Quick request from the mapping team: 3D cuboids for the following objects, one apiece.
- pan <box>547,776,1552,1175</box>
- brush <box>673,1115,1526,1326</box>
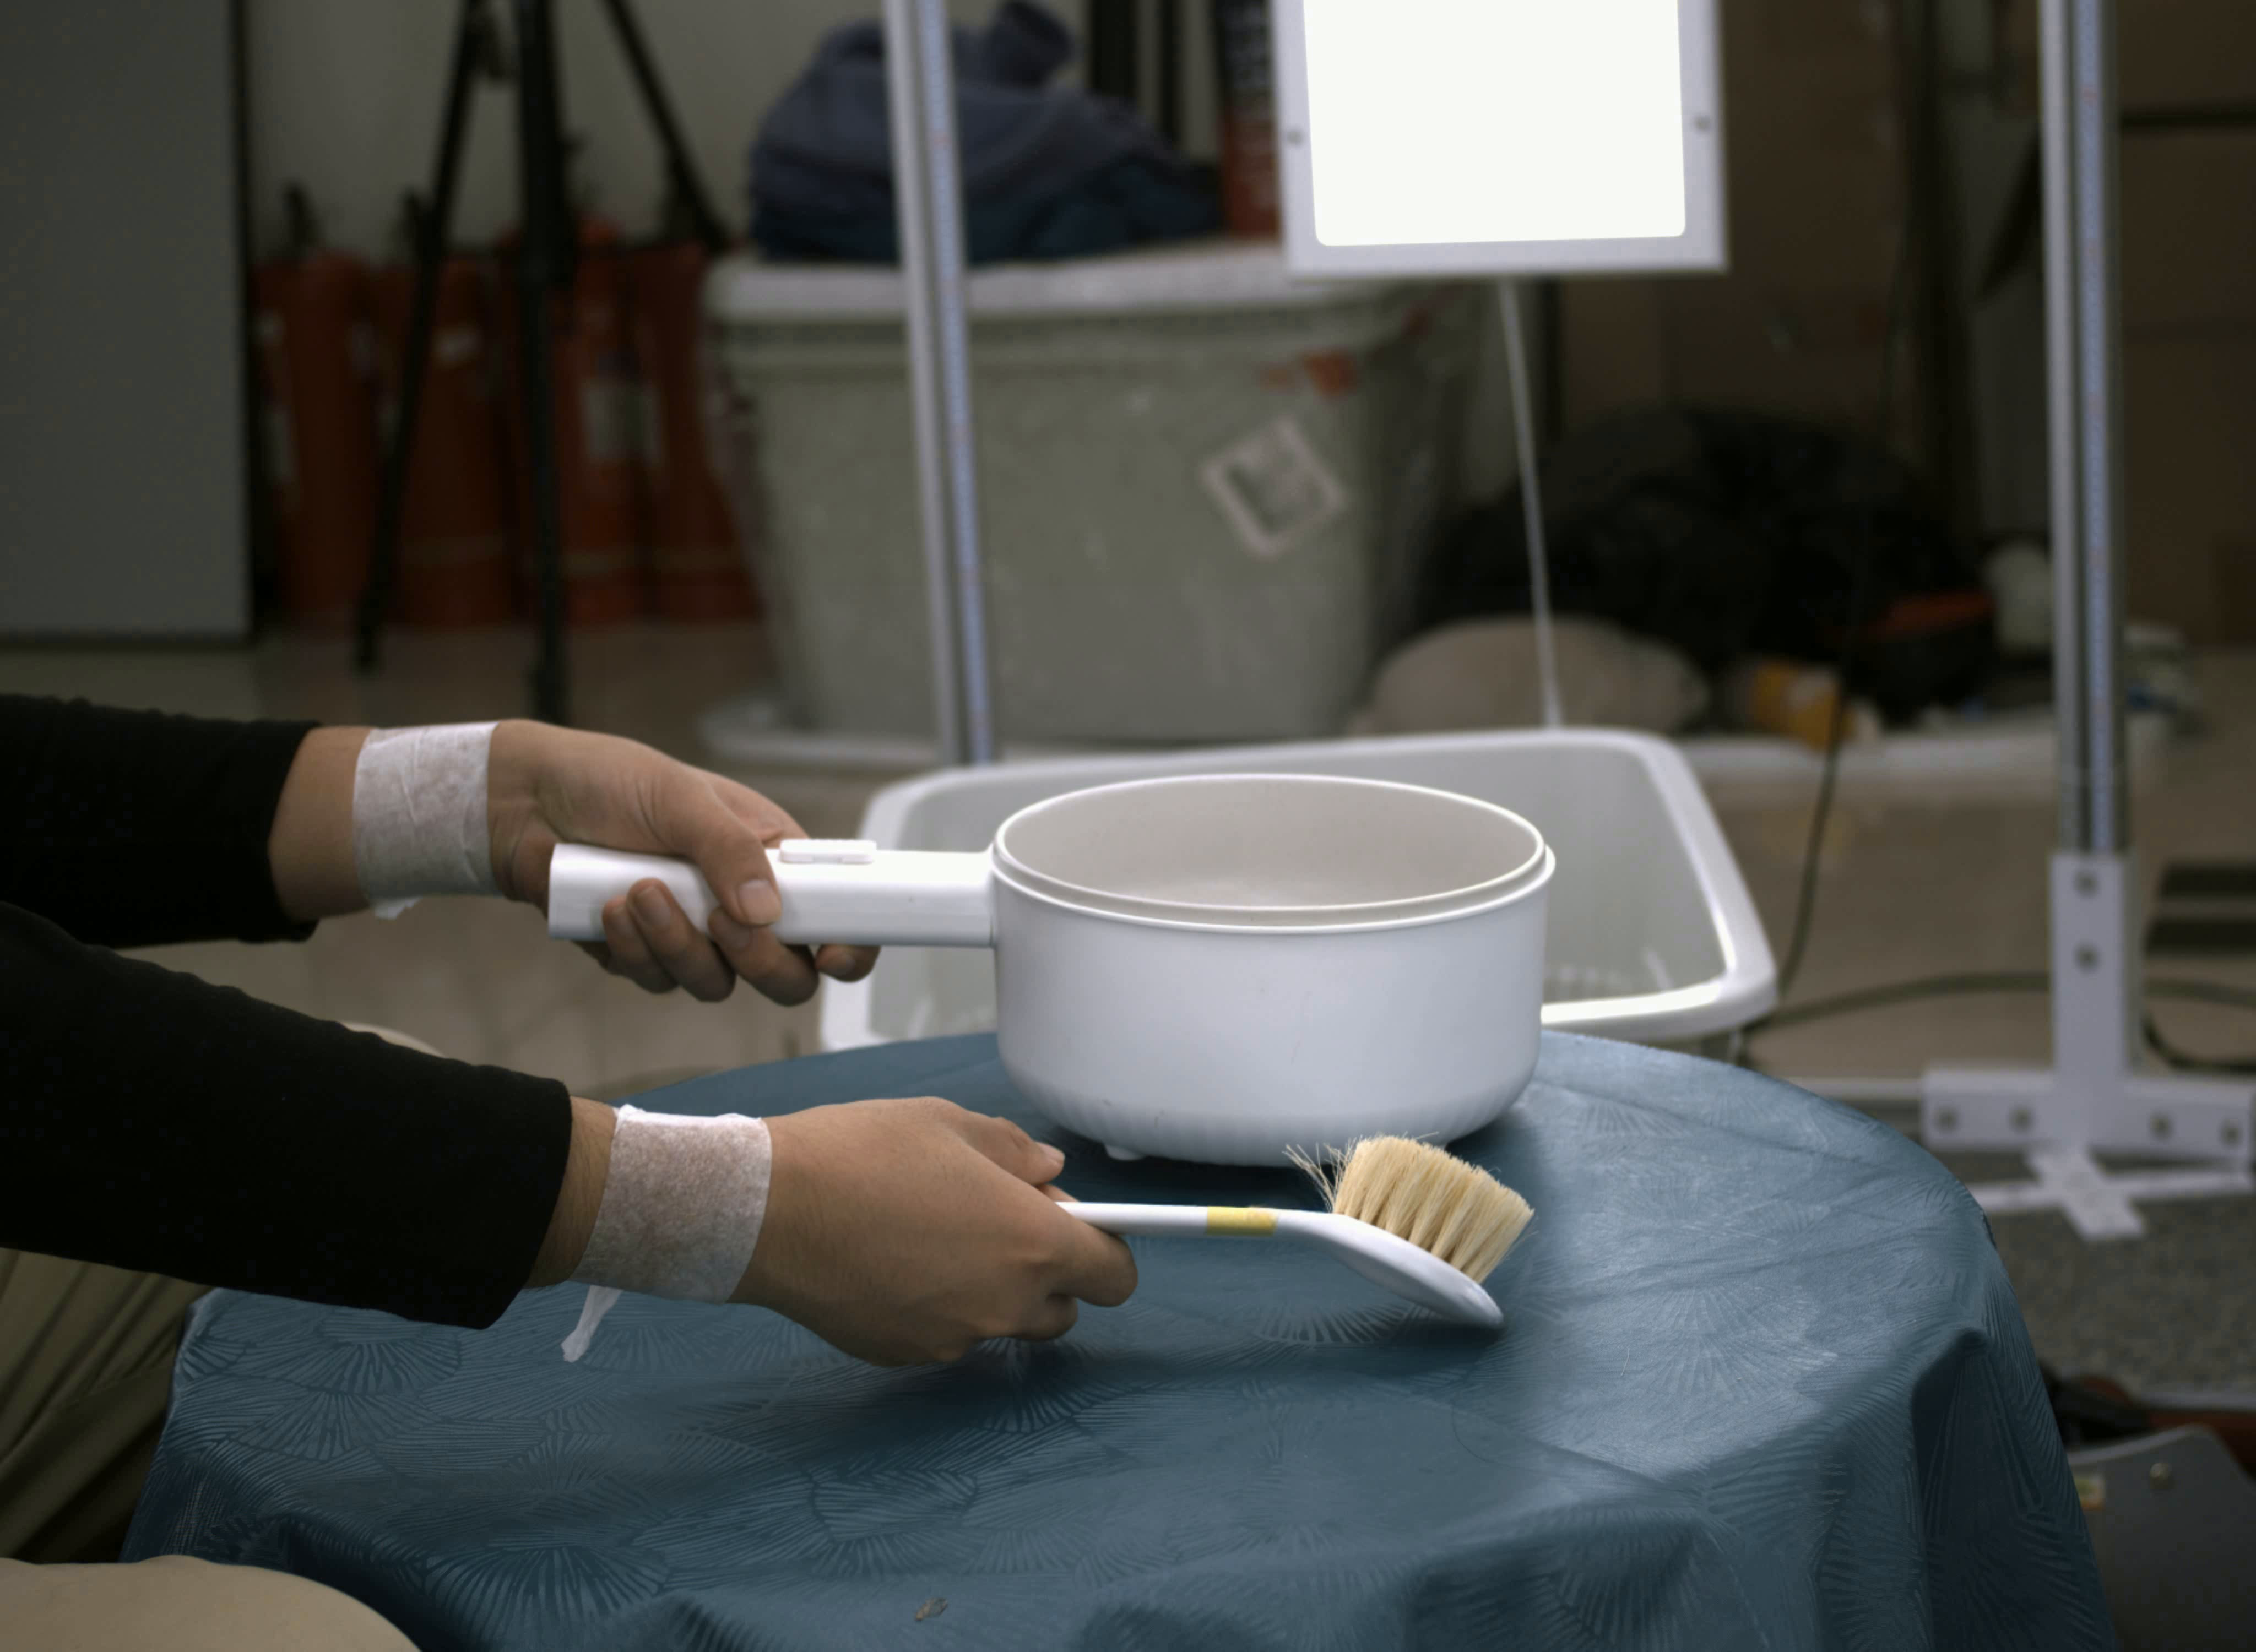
[{"bbox_3d":[-0.027,0.055,1.951,0.354,0.102,0.200,-1,15,1],"label":"pan"},{"bbox_3d":[-0.007,0.112,1.721,0.266,0.056,0.068,6,-15,4],"label":"brush"}]
